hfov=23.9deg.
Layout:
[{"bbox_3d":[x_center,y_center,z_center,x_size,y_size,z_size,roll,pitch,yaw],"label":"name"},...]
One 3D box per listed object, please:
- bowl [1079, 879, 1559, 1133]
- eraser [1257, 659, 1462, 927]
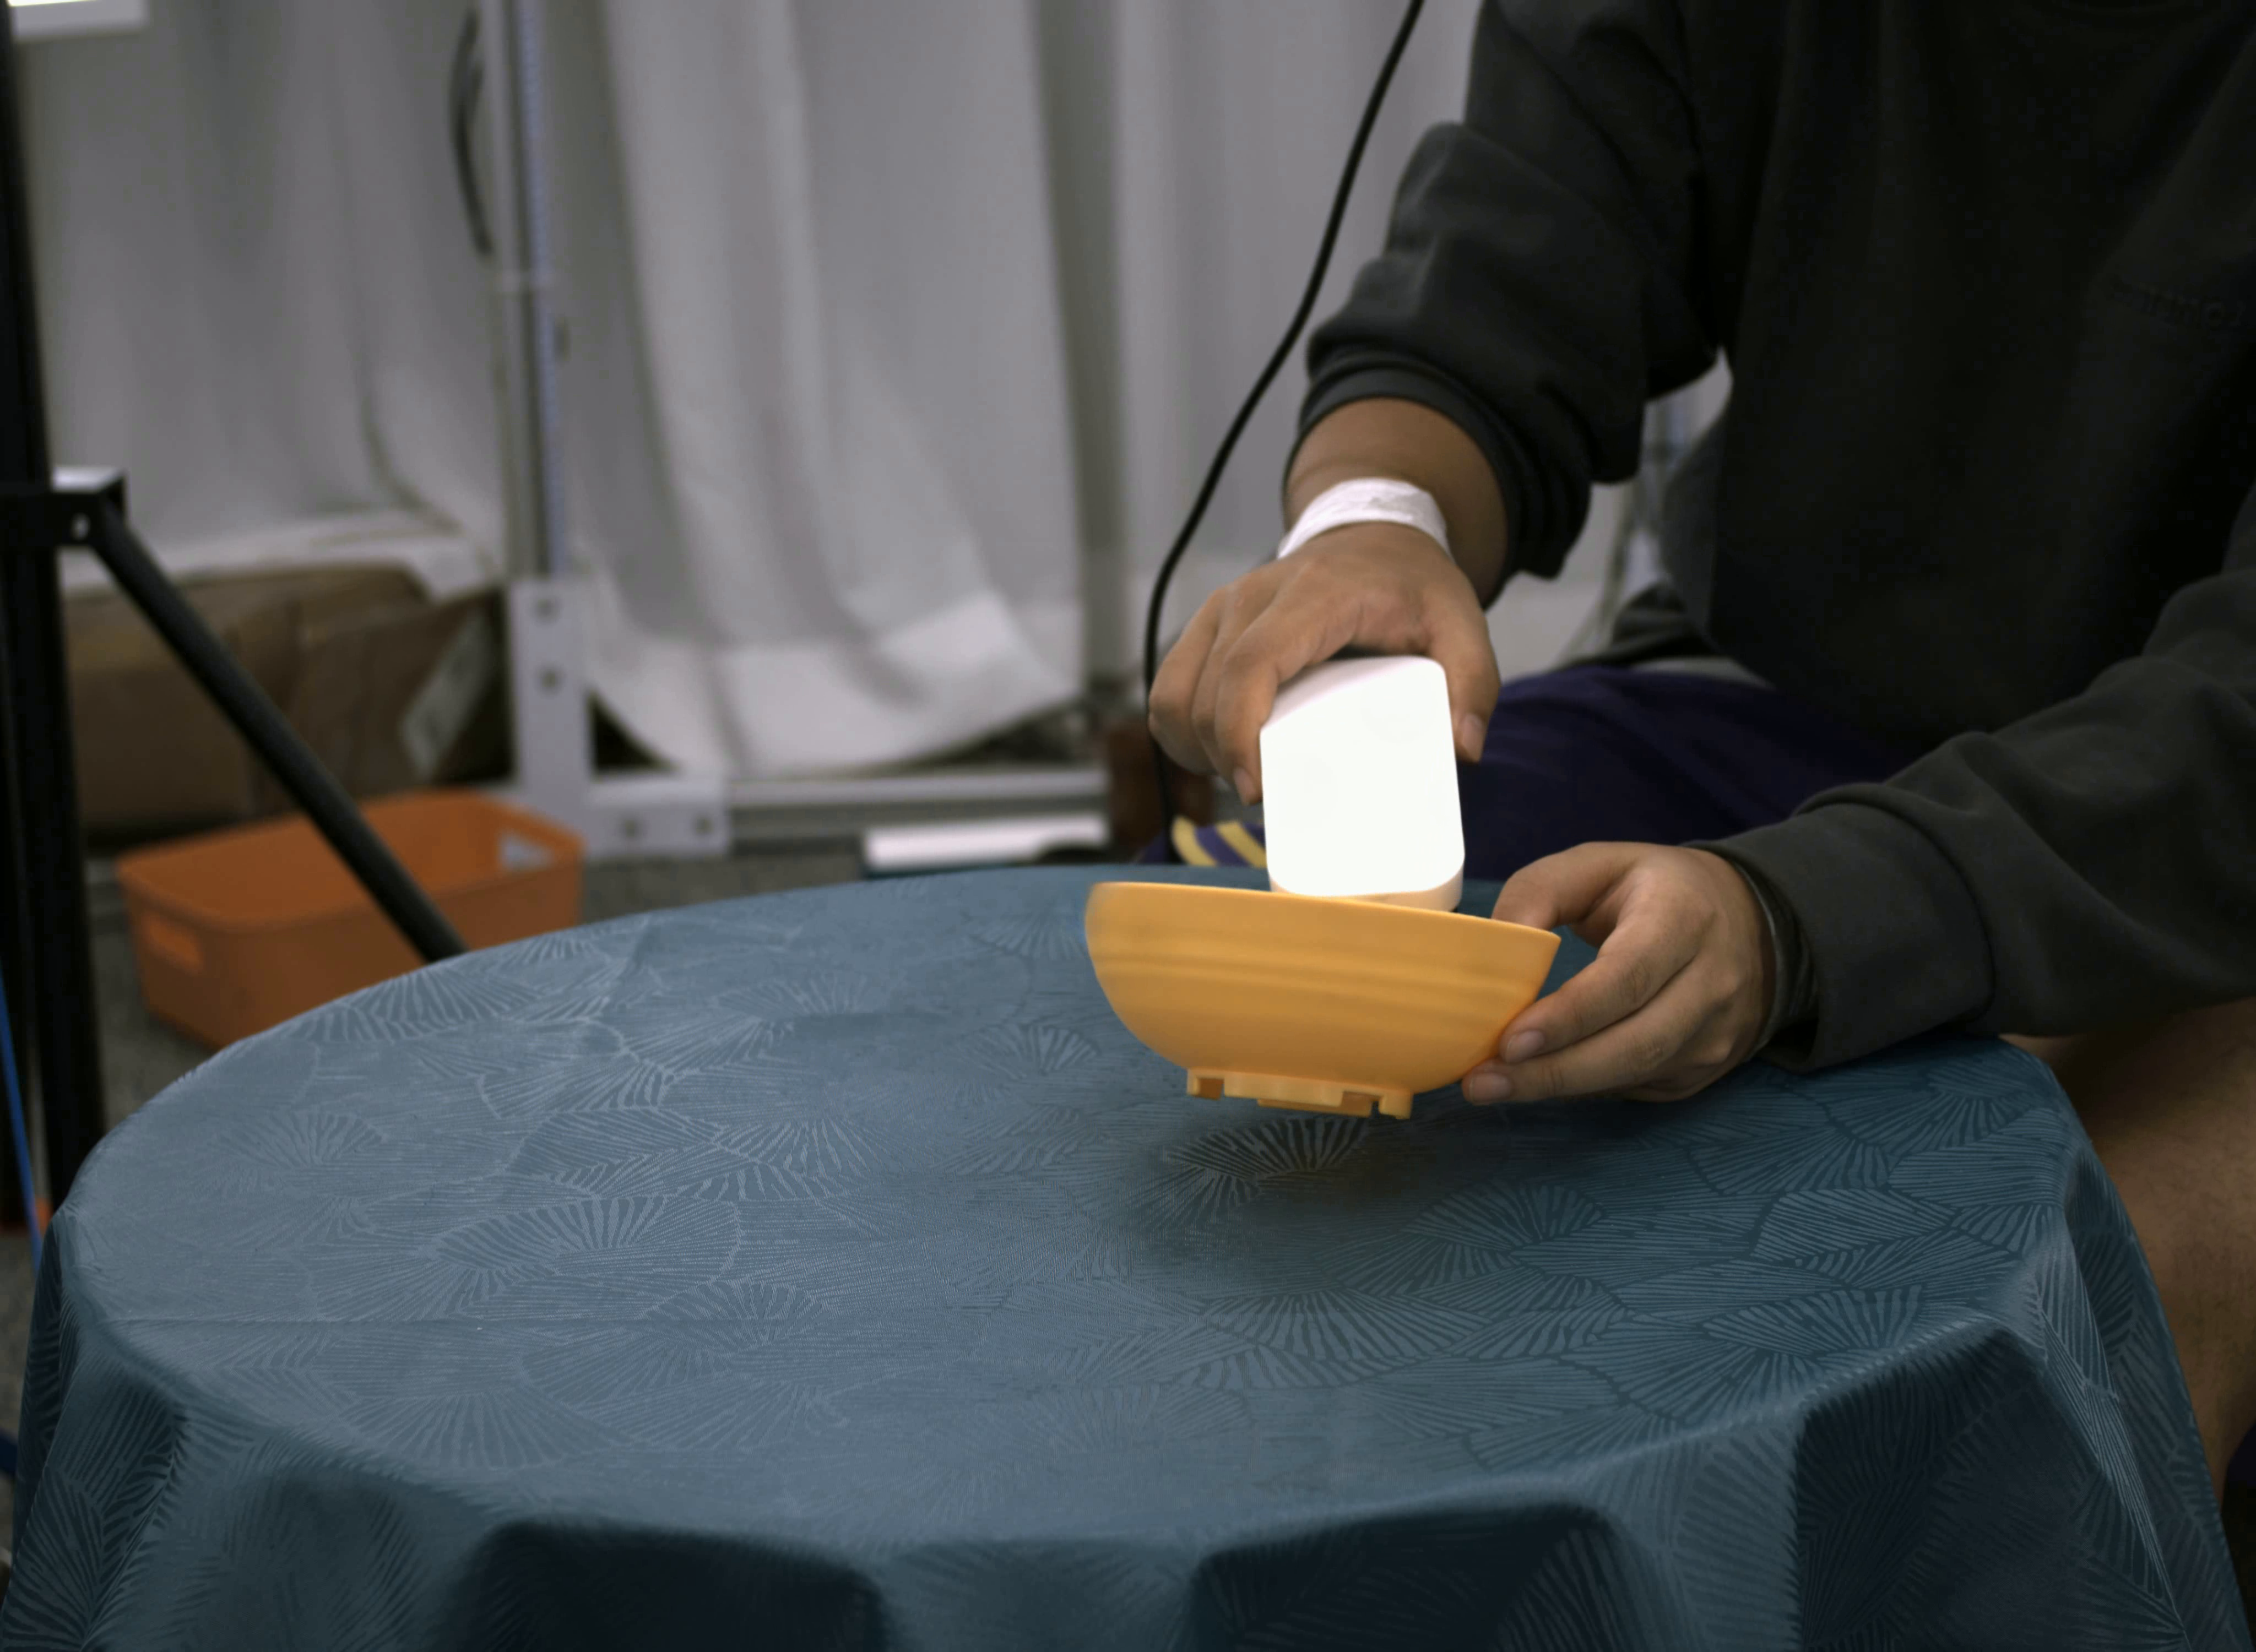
[{"bbox_3d":[0.052,0.057,1.568,0.144,0.060,0.145,9,-6,0],"label":"bowl"},{"bbox_3d":[0.073,-0.010,1.667,0.063,0.034,0.132,-3,35,3],"label":"eraser"}]
